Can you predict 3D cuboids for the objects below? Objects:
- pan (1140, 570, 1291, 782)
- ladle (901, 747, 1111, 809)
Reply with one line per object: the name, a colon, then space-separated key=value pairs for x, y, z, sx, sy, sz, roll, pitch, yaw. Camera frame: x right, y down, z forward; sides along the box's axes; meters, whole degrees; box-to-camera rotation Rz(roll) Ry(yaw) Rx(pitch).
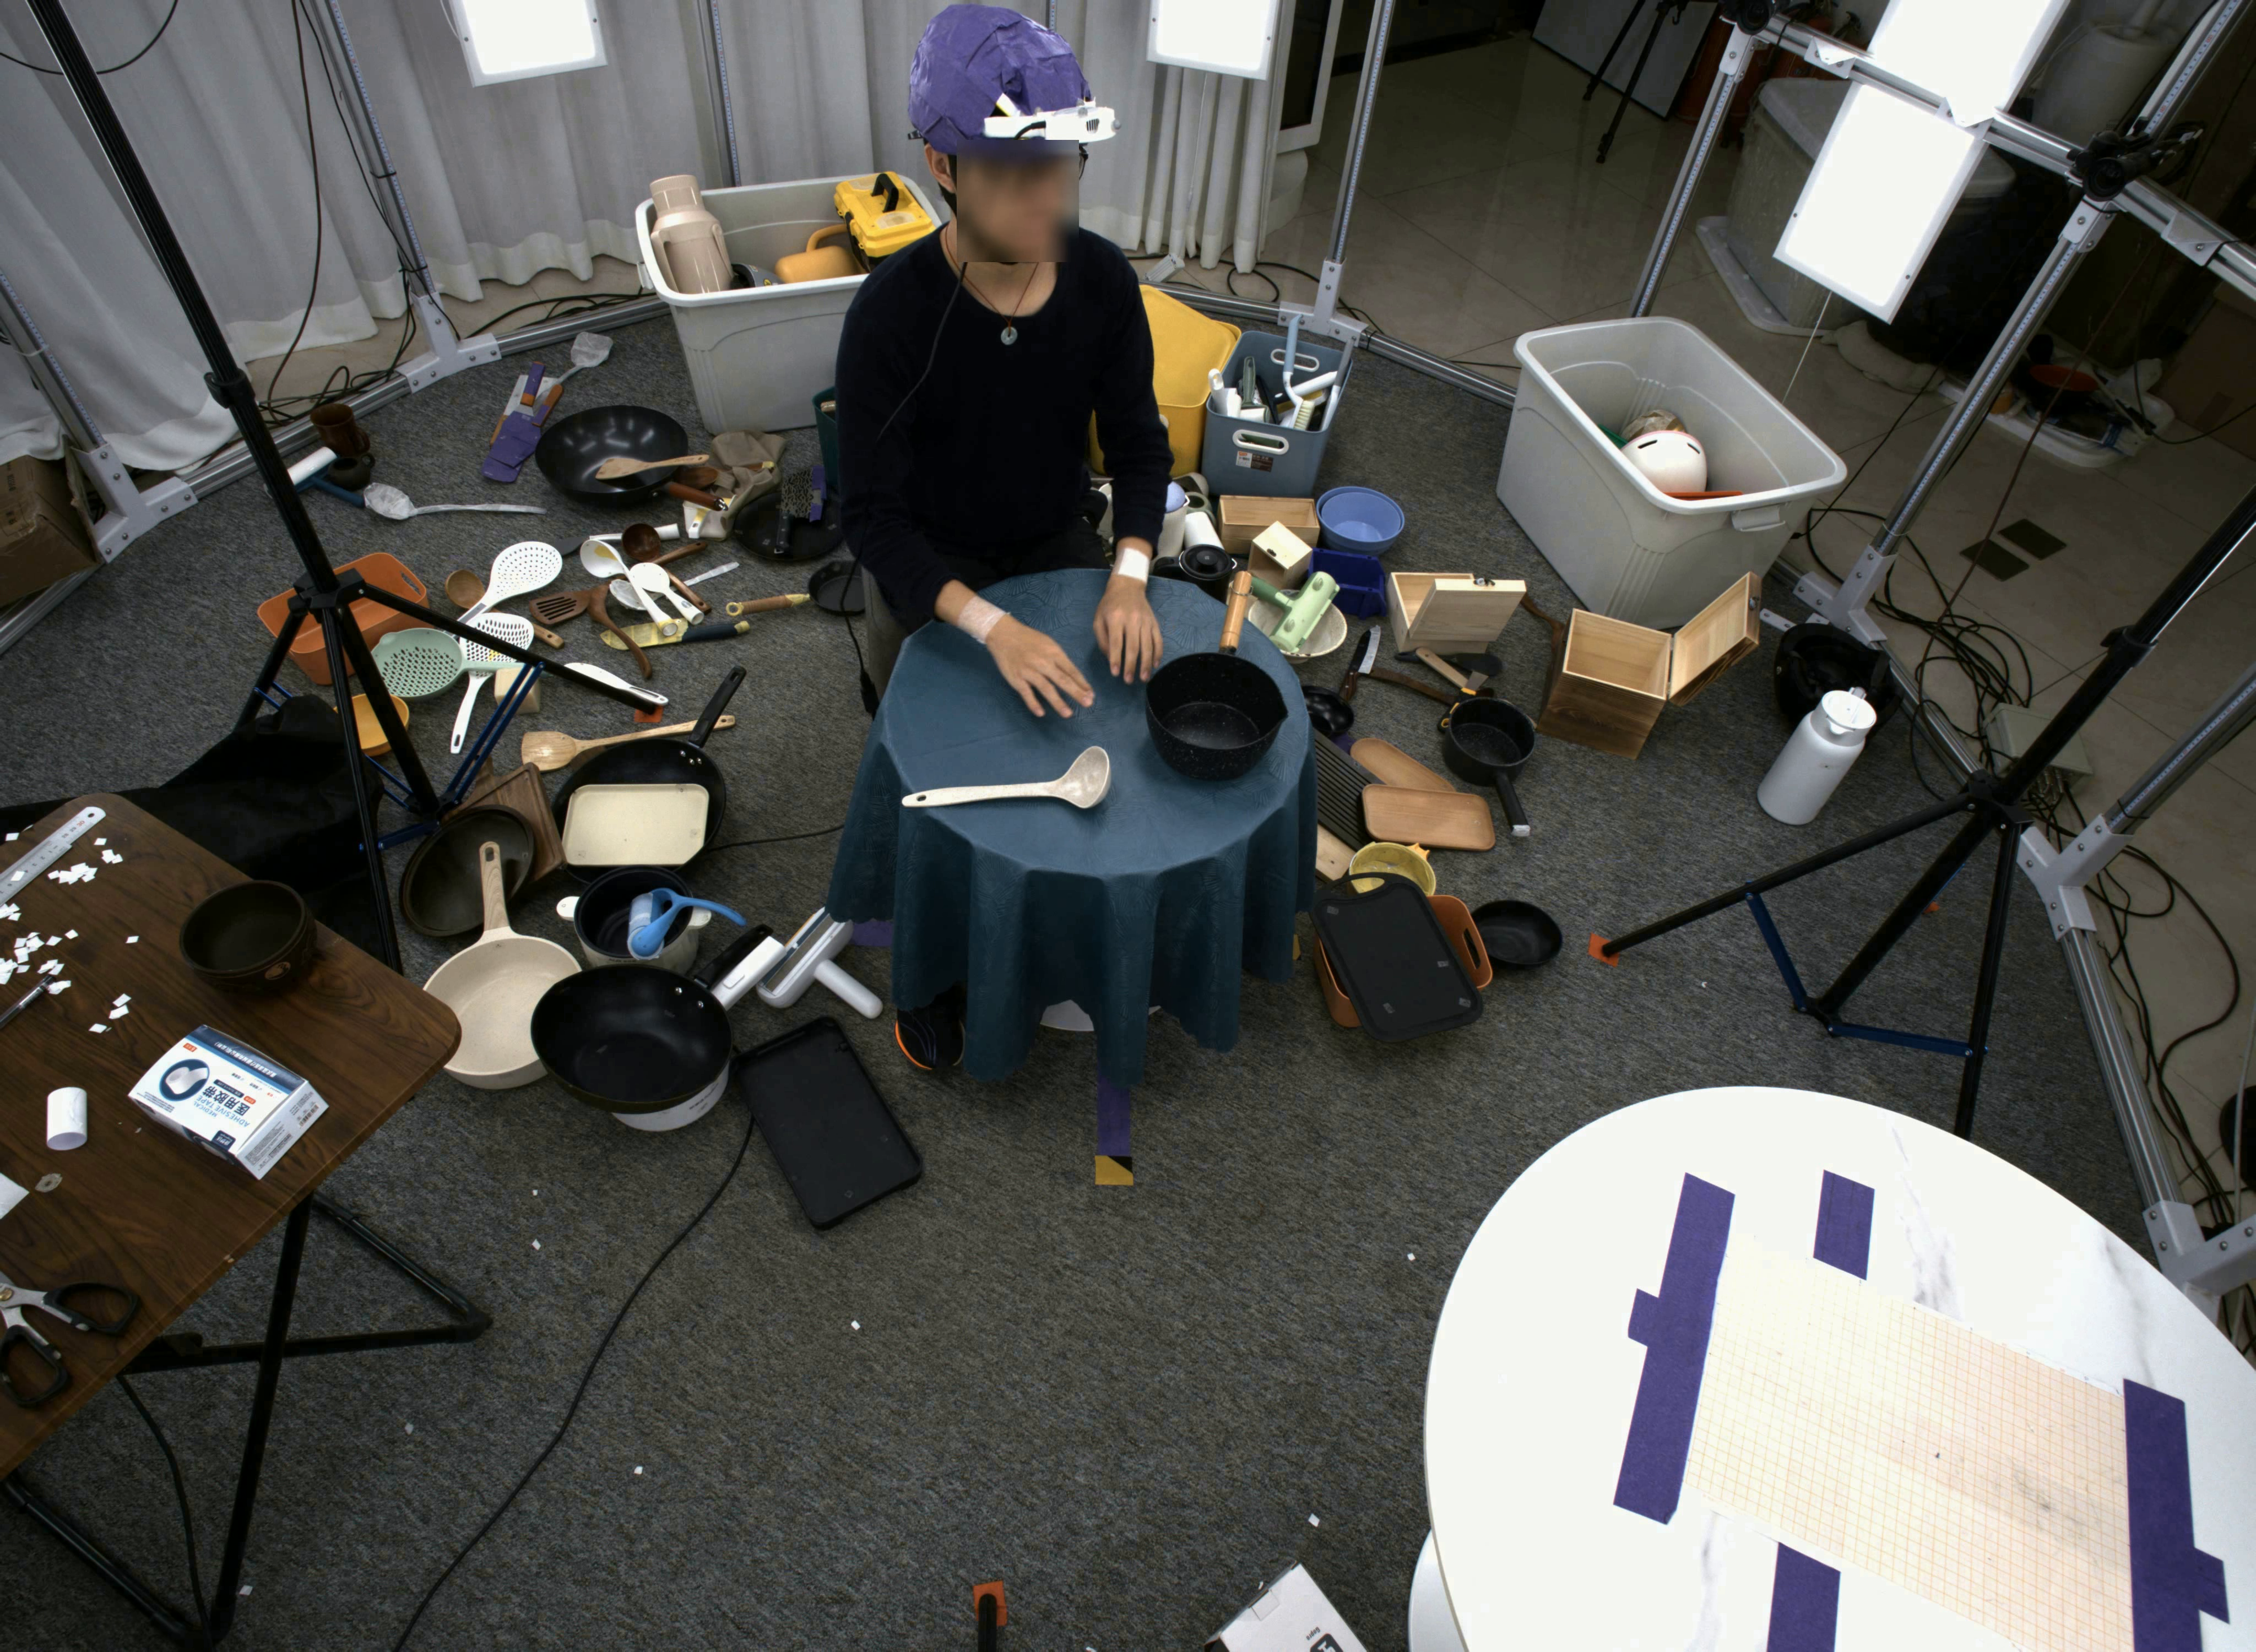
pan: x=0.130 y=-0.211 z=1.791 sx=0.208 sy=0.105 sz=0.351 roll=9 pitch=51 yaw=6
ladle: x=-0.159 y=-0.056 z=1.668 sx=0.274 sy=0.068 sz=0.091 roll=-3 pitch=58 yaw=-4
